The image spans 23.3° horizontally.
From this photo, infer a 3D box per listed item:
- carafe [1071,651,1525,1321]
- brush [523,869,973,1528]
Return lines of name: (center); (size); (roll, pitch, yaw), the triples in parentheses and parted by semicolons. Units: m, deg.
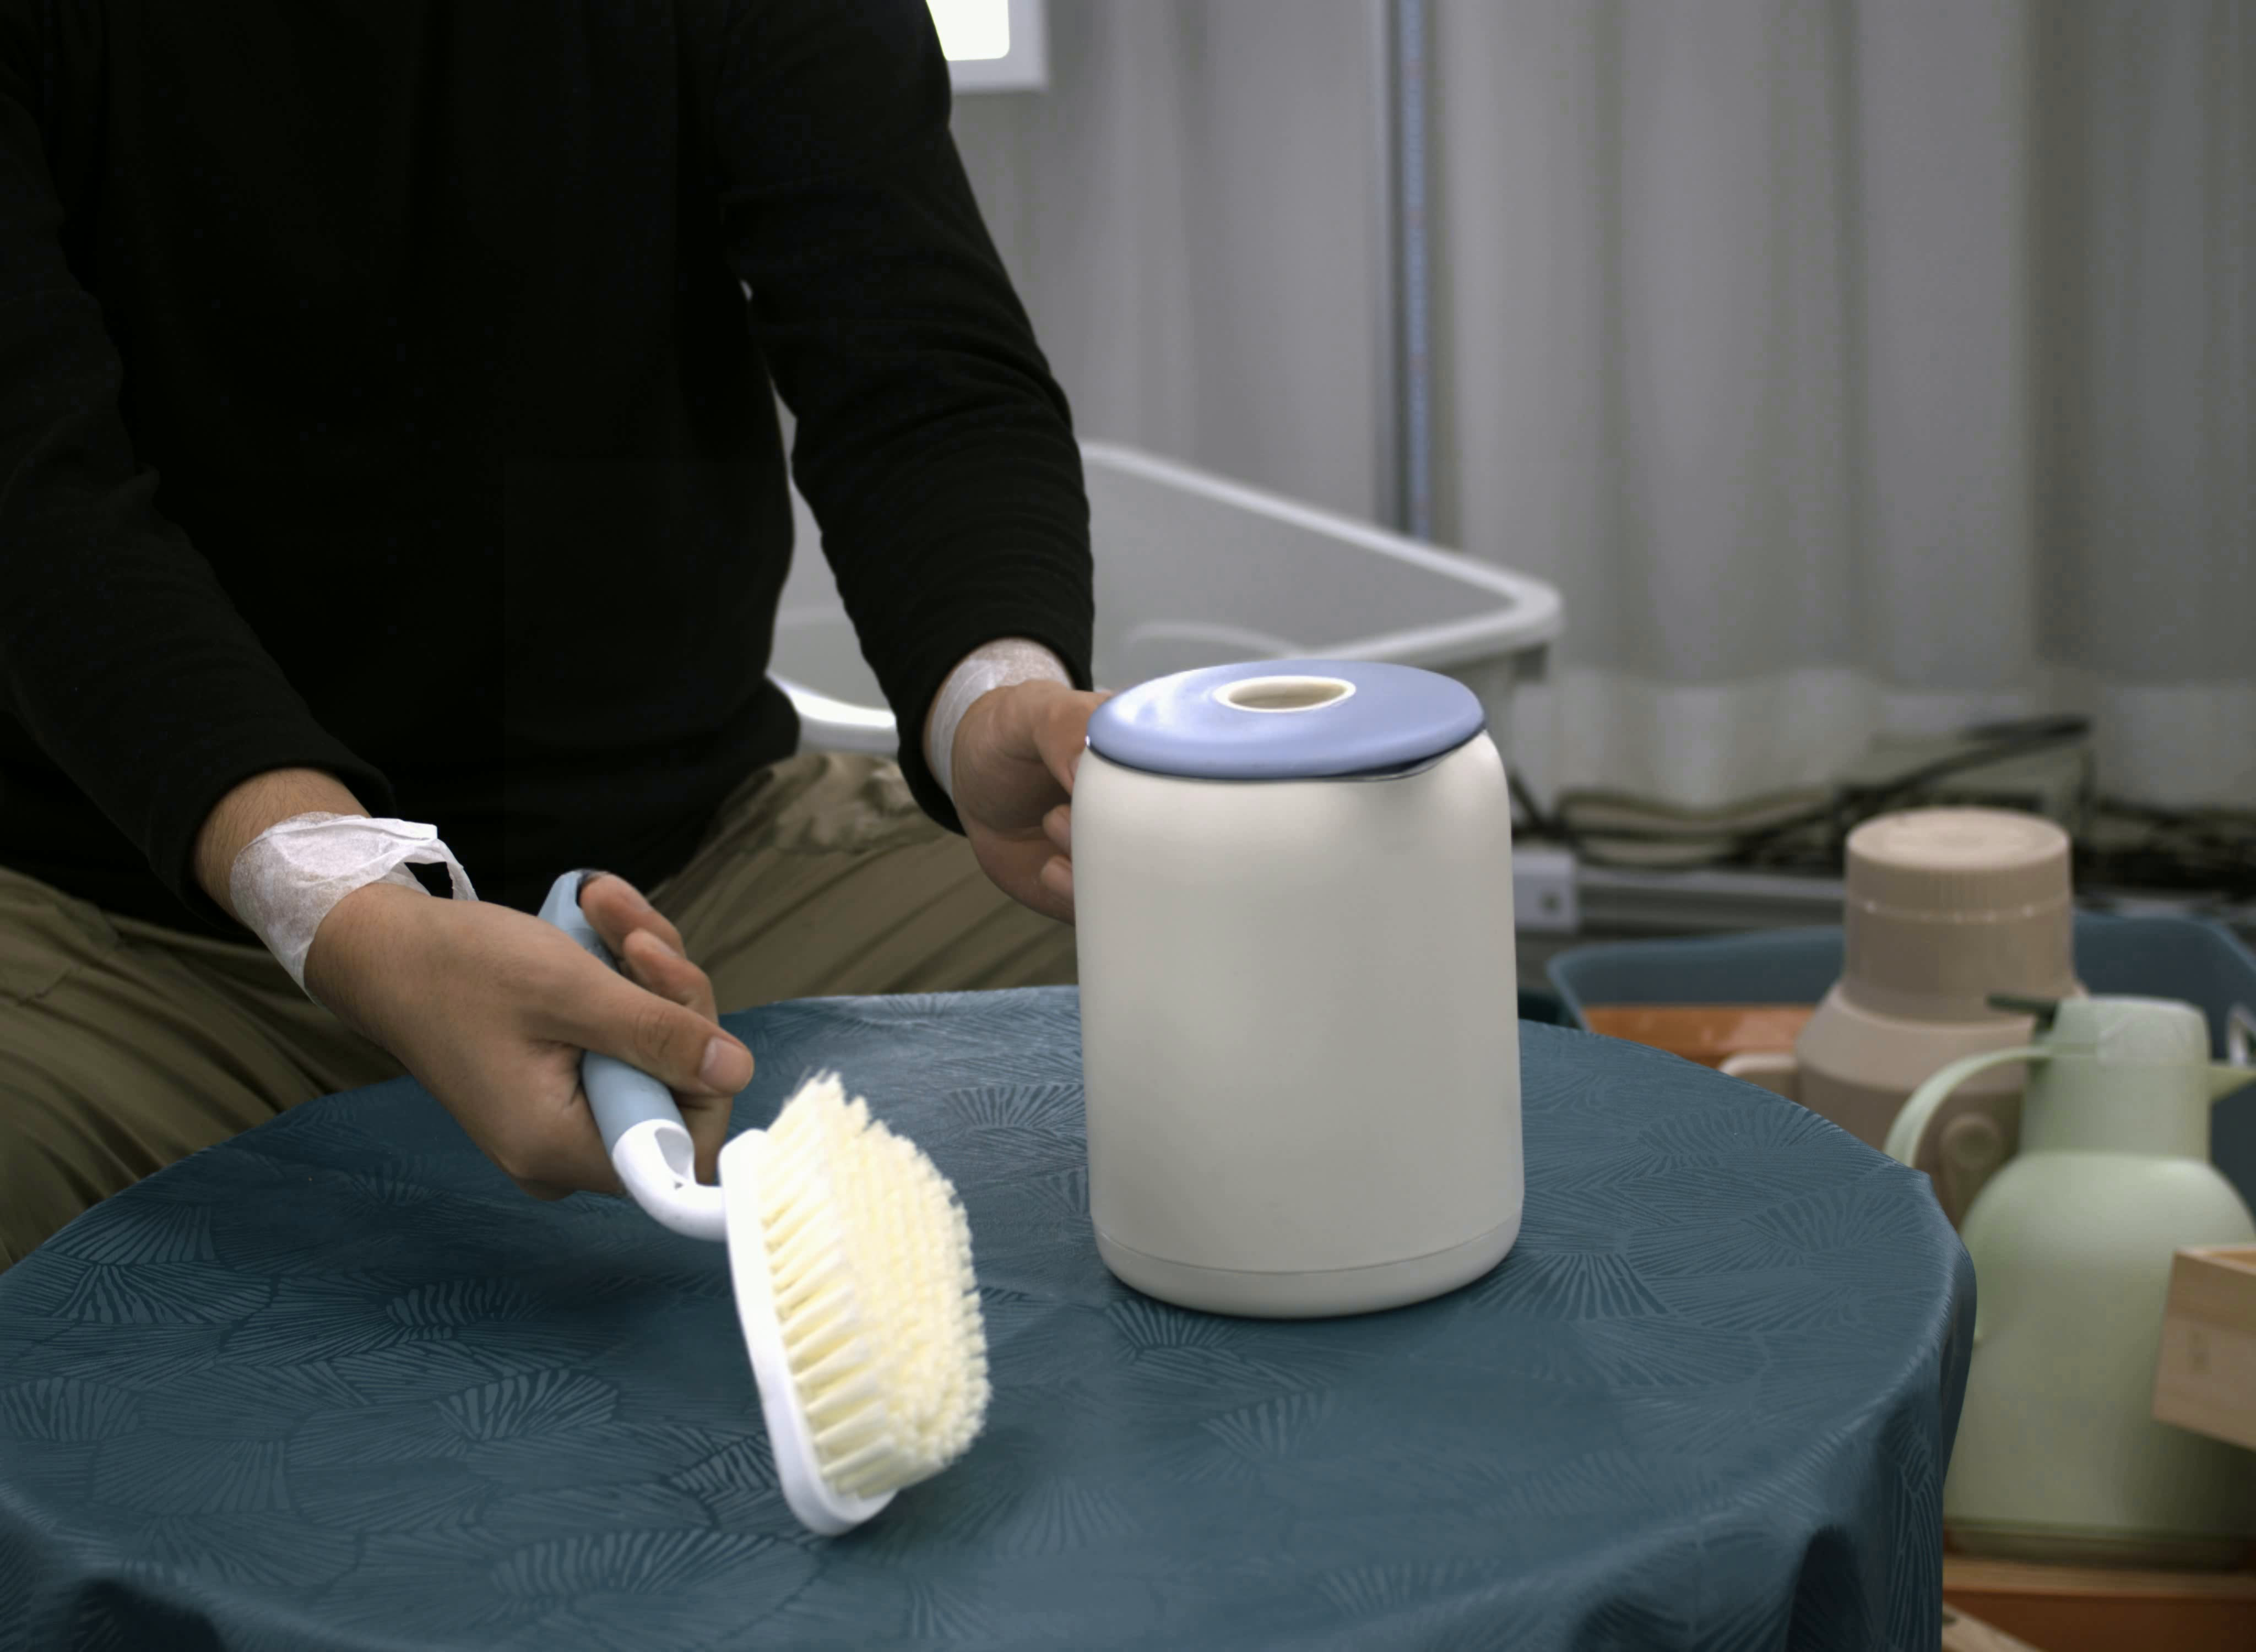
carafe: (0.039, 0.041, 1.650); (0.131, 0.182, 0.192); (-10, 15, -28)
brush: (-0.106, 0.079, 1.569); (0.084, 0.082, 0.330); (-8, 32, -14)
